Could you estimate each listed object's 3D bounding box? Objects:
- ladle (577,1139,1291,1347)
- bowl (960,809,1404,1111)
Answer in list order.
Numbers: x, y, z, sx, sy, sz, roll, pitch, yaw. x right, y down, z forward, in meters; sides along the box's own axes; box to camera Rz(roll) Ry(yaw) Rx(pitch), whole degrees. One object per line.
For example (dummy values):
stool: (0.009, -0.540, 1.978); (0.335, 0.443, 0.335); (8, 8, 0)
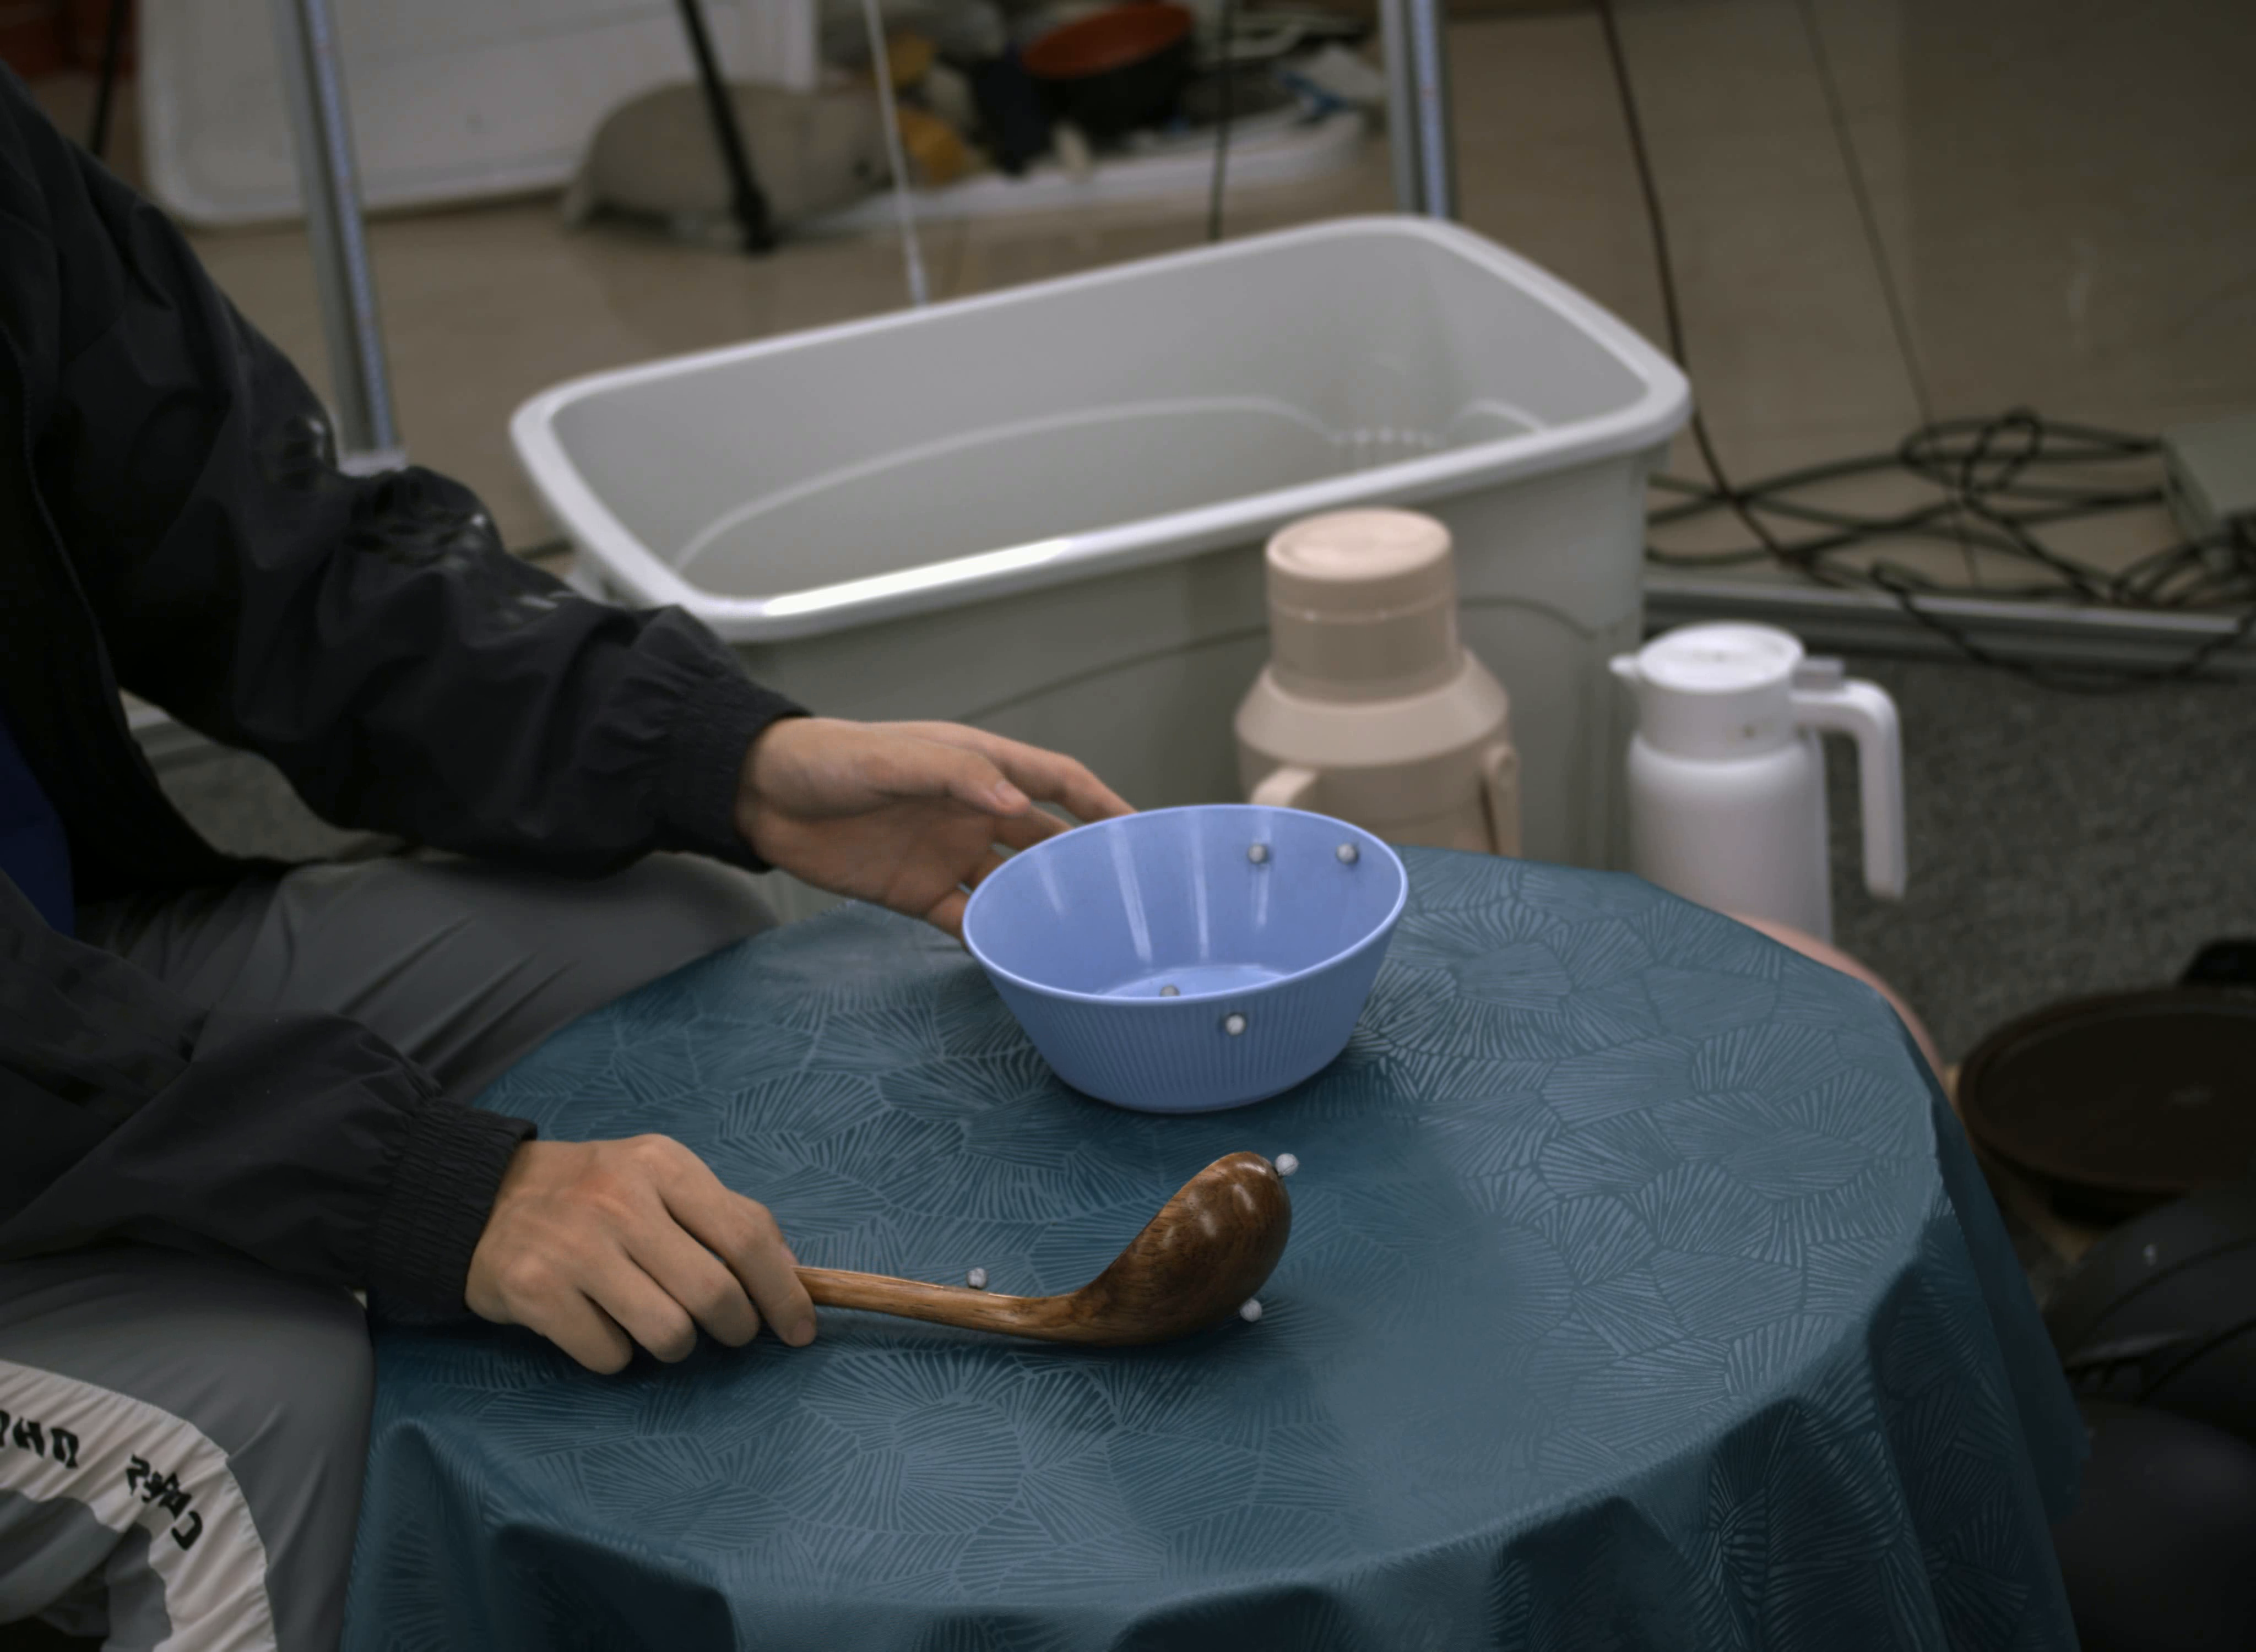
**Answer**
ladle: (-0.073, 0.146, 2.068); (0.273, 0.083, 0.076); (2, 71, 23)
bowl: (0.024, 0.058, 2.231); (0.176, 0.071, 0.173); (-5, 24, 3)
